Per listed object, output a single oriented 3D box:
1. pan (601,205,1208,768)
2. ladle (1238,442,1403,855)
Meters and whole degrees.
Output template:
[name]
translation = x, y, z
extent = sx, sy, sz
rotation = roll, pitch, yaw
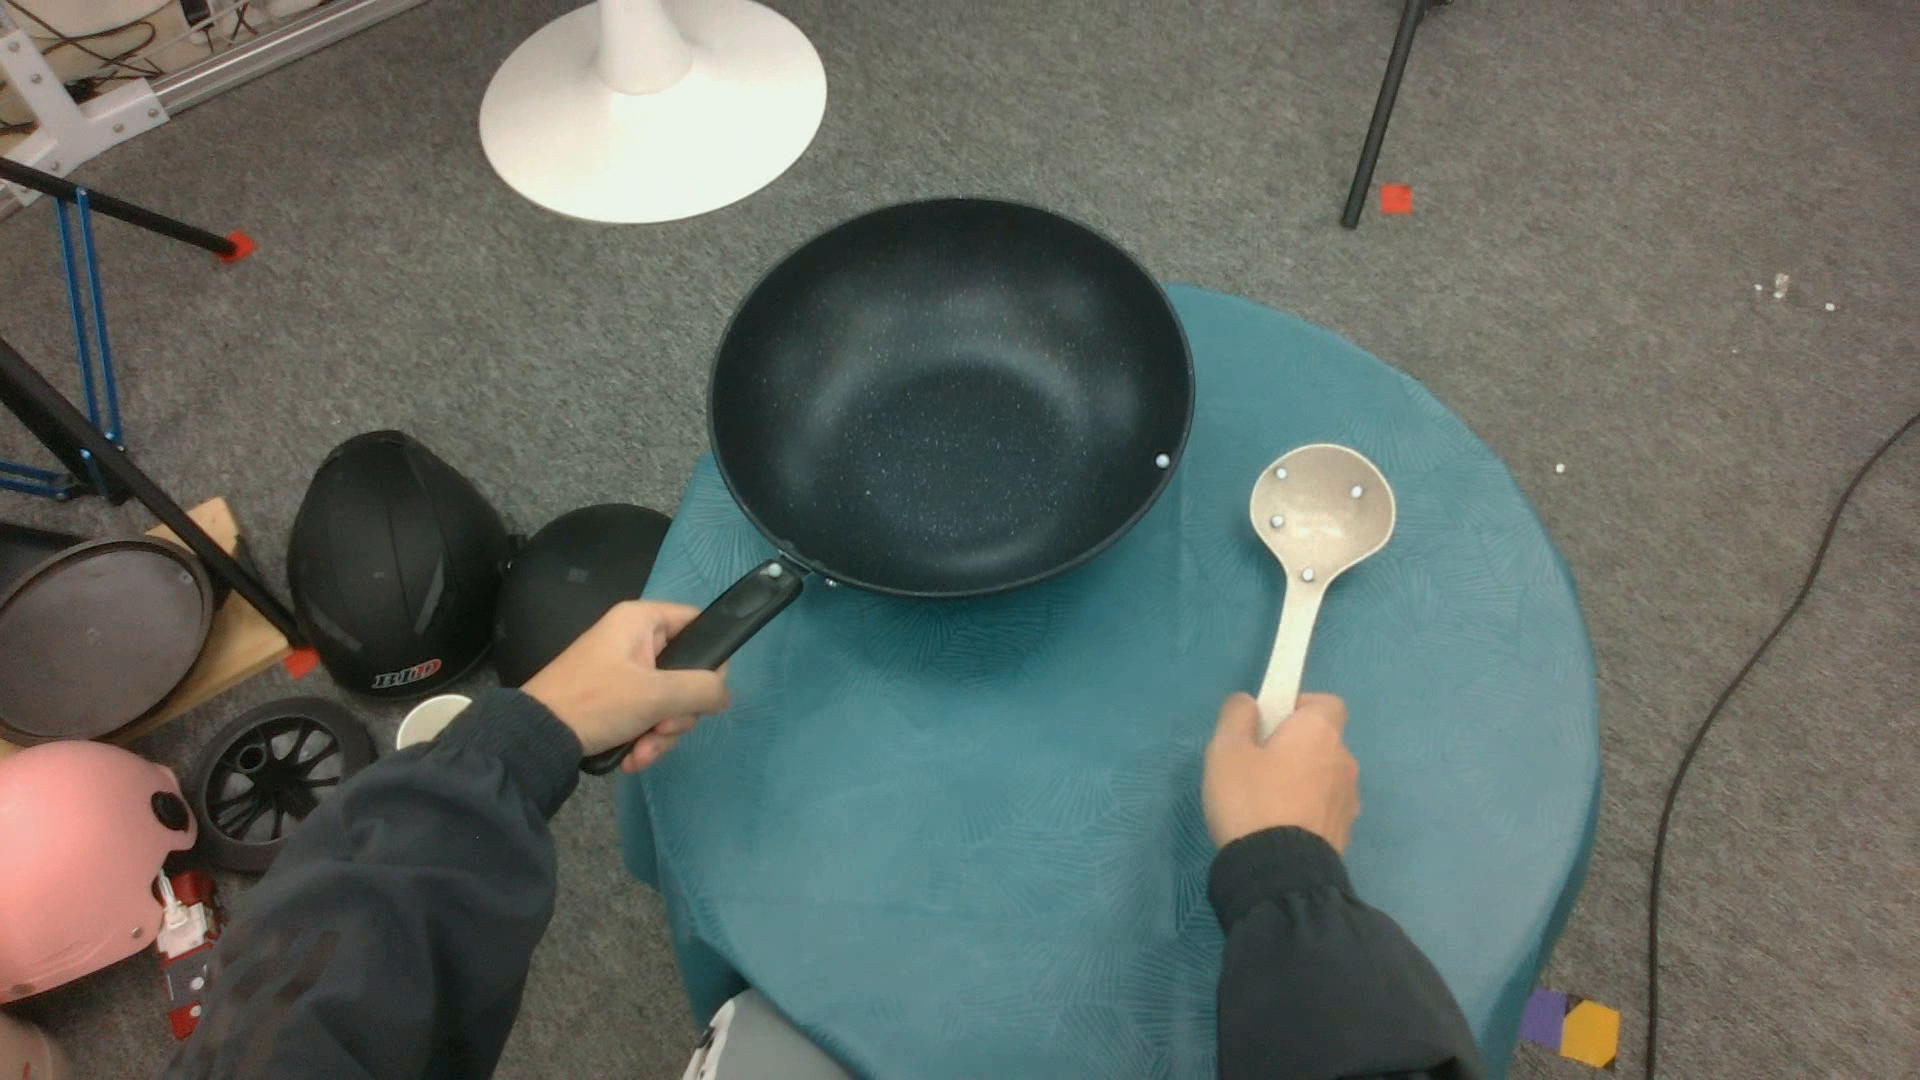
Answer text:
[pan]
translation = -0.044, -0.027, 0.878
extent = 0.310, 0.111, 0.478
rotation = 30, 66, 22
[ladle]
translation = 0.201, 0.053, 0.812
extent = 0.089, 0.069, 0.276
rotation = 11, 47, 17
